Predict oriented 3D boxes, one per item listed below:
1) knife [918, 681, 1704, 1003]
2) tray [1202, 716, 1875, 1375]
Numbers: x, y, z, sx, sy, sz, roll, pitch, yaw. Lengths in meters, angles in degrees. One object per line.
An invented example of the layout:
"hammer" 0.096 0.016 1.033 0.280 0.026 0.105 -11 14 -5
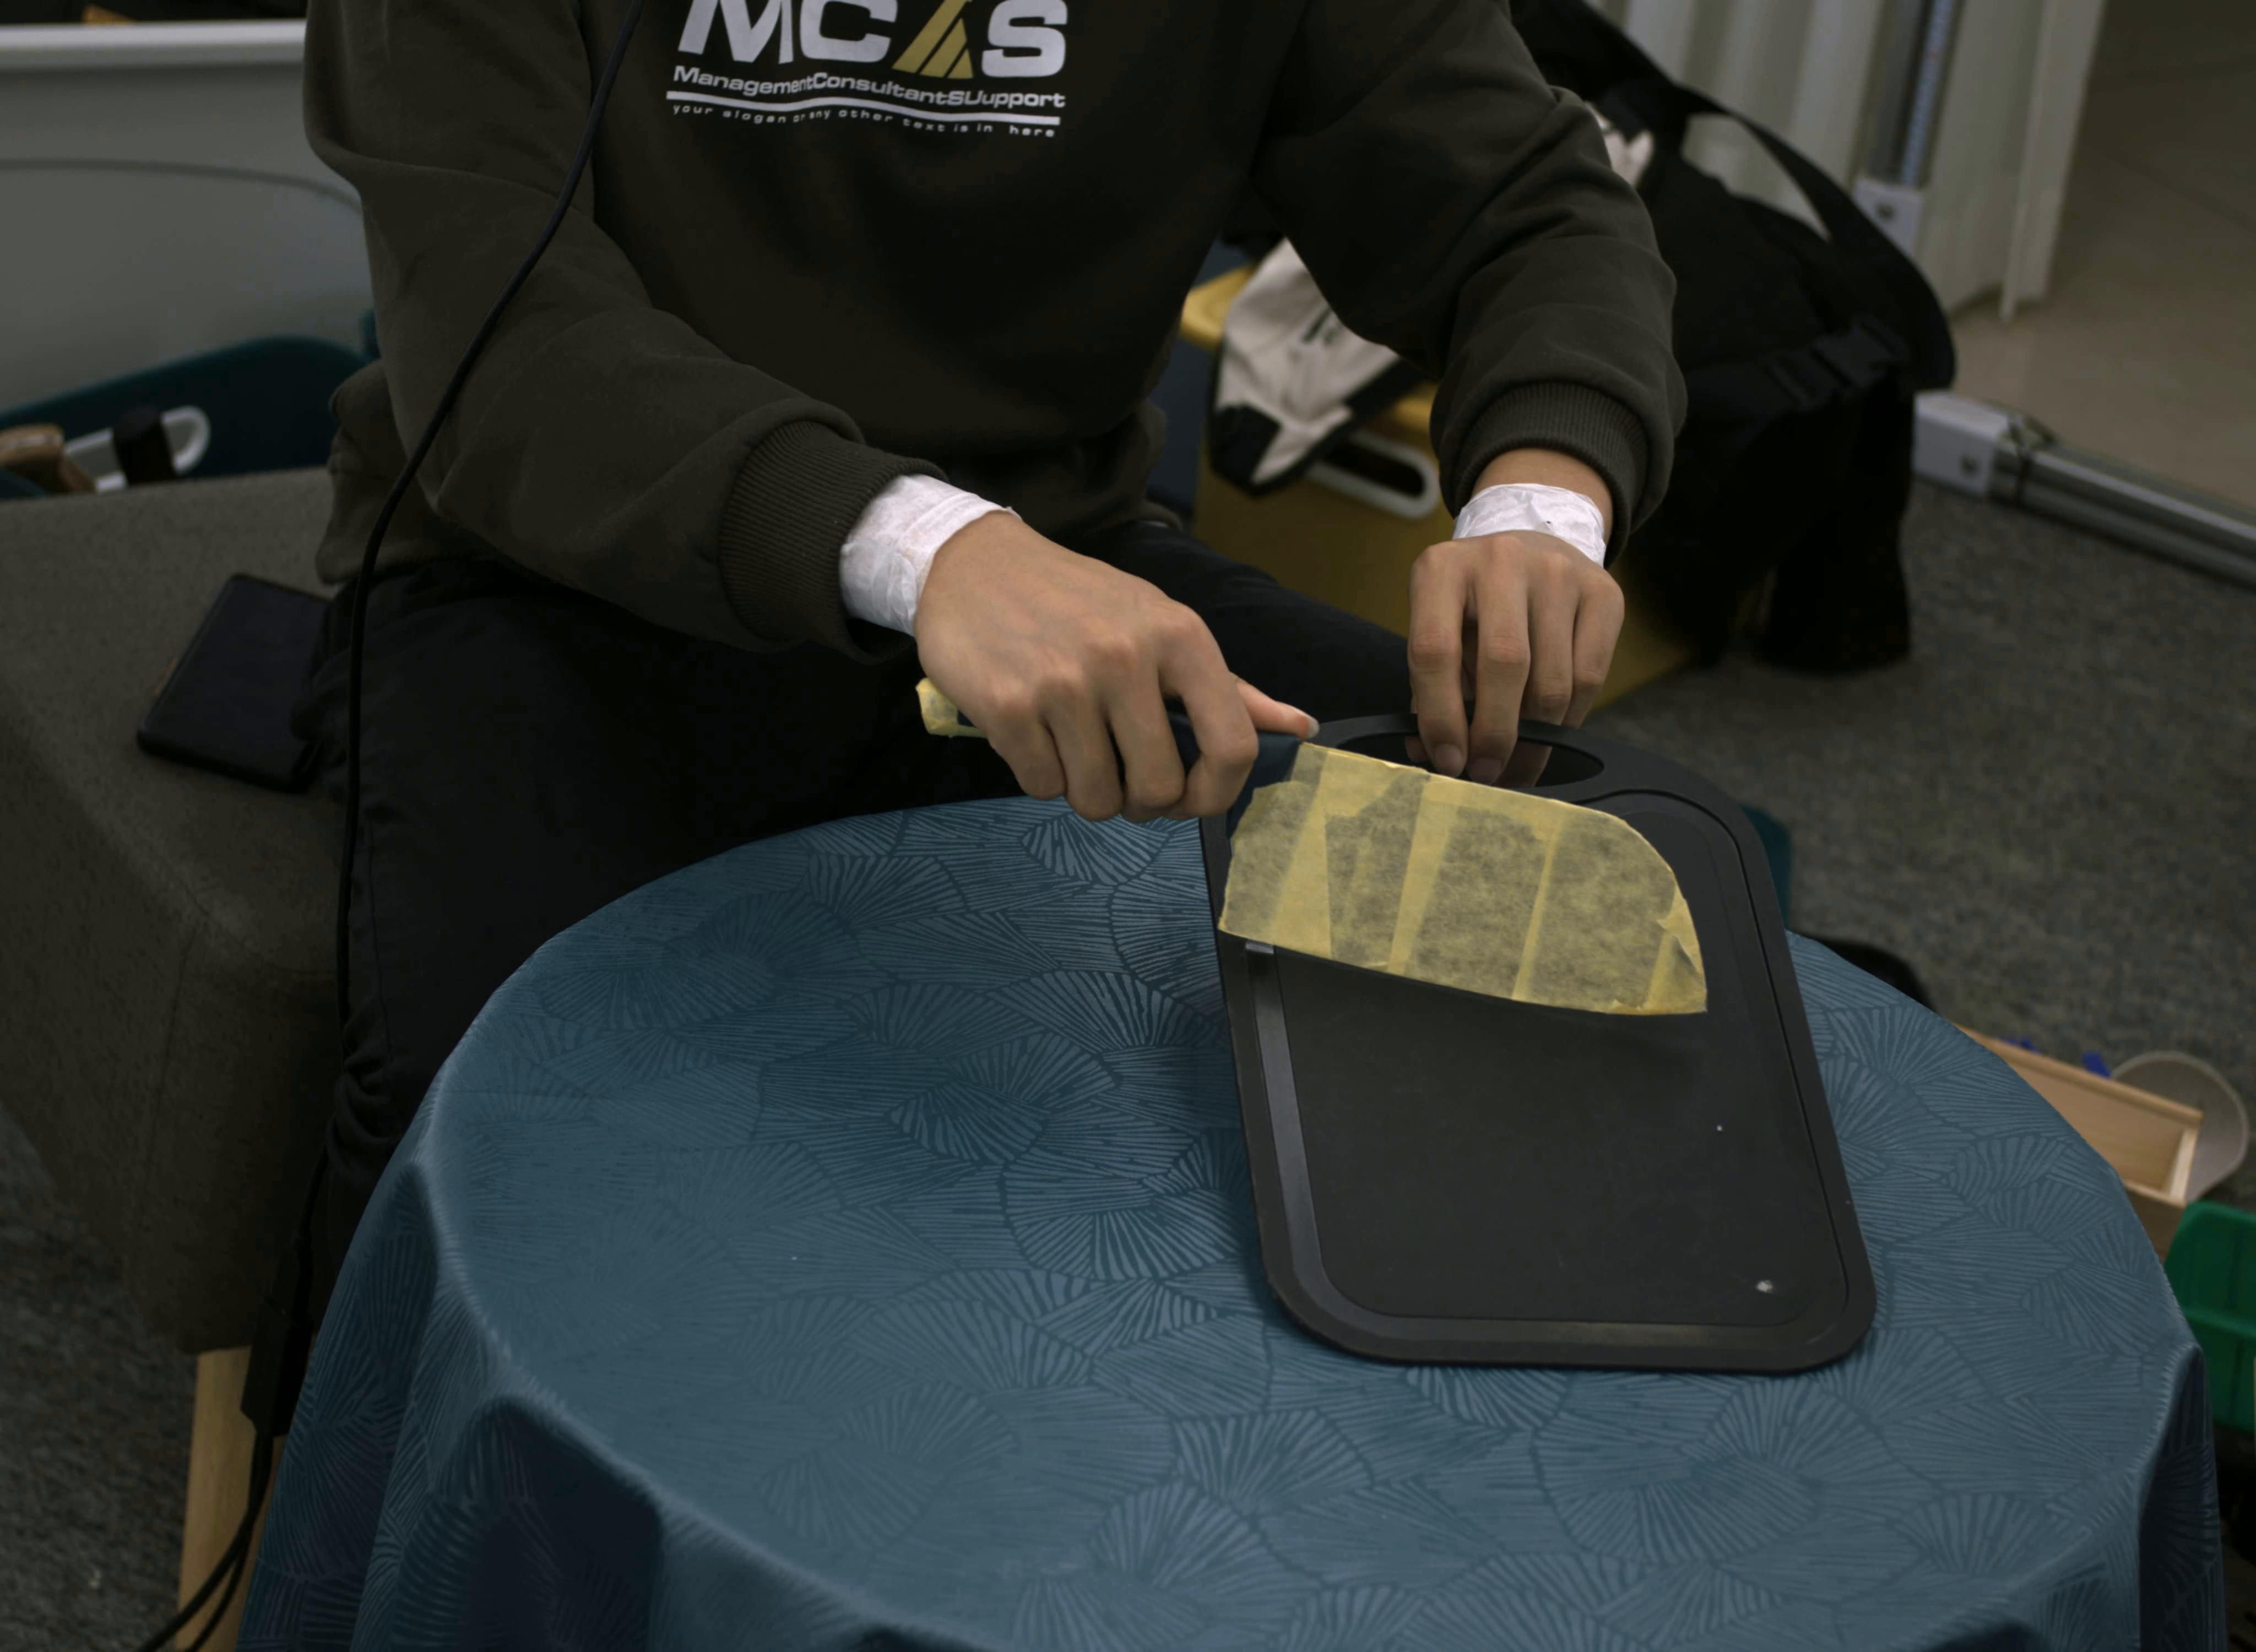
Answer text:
"knife" 0.062 0.005 1.860 0.289 0.081 0.027 16 5 6
"tray" 0.137 0.067 1.852 0.210 0.010 0.328 3 41 -8
